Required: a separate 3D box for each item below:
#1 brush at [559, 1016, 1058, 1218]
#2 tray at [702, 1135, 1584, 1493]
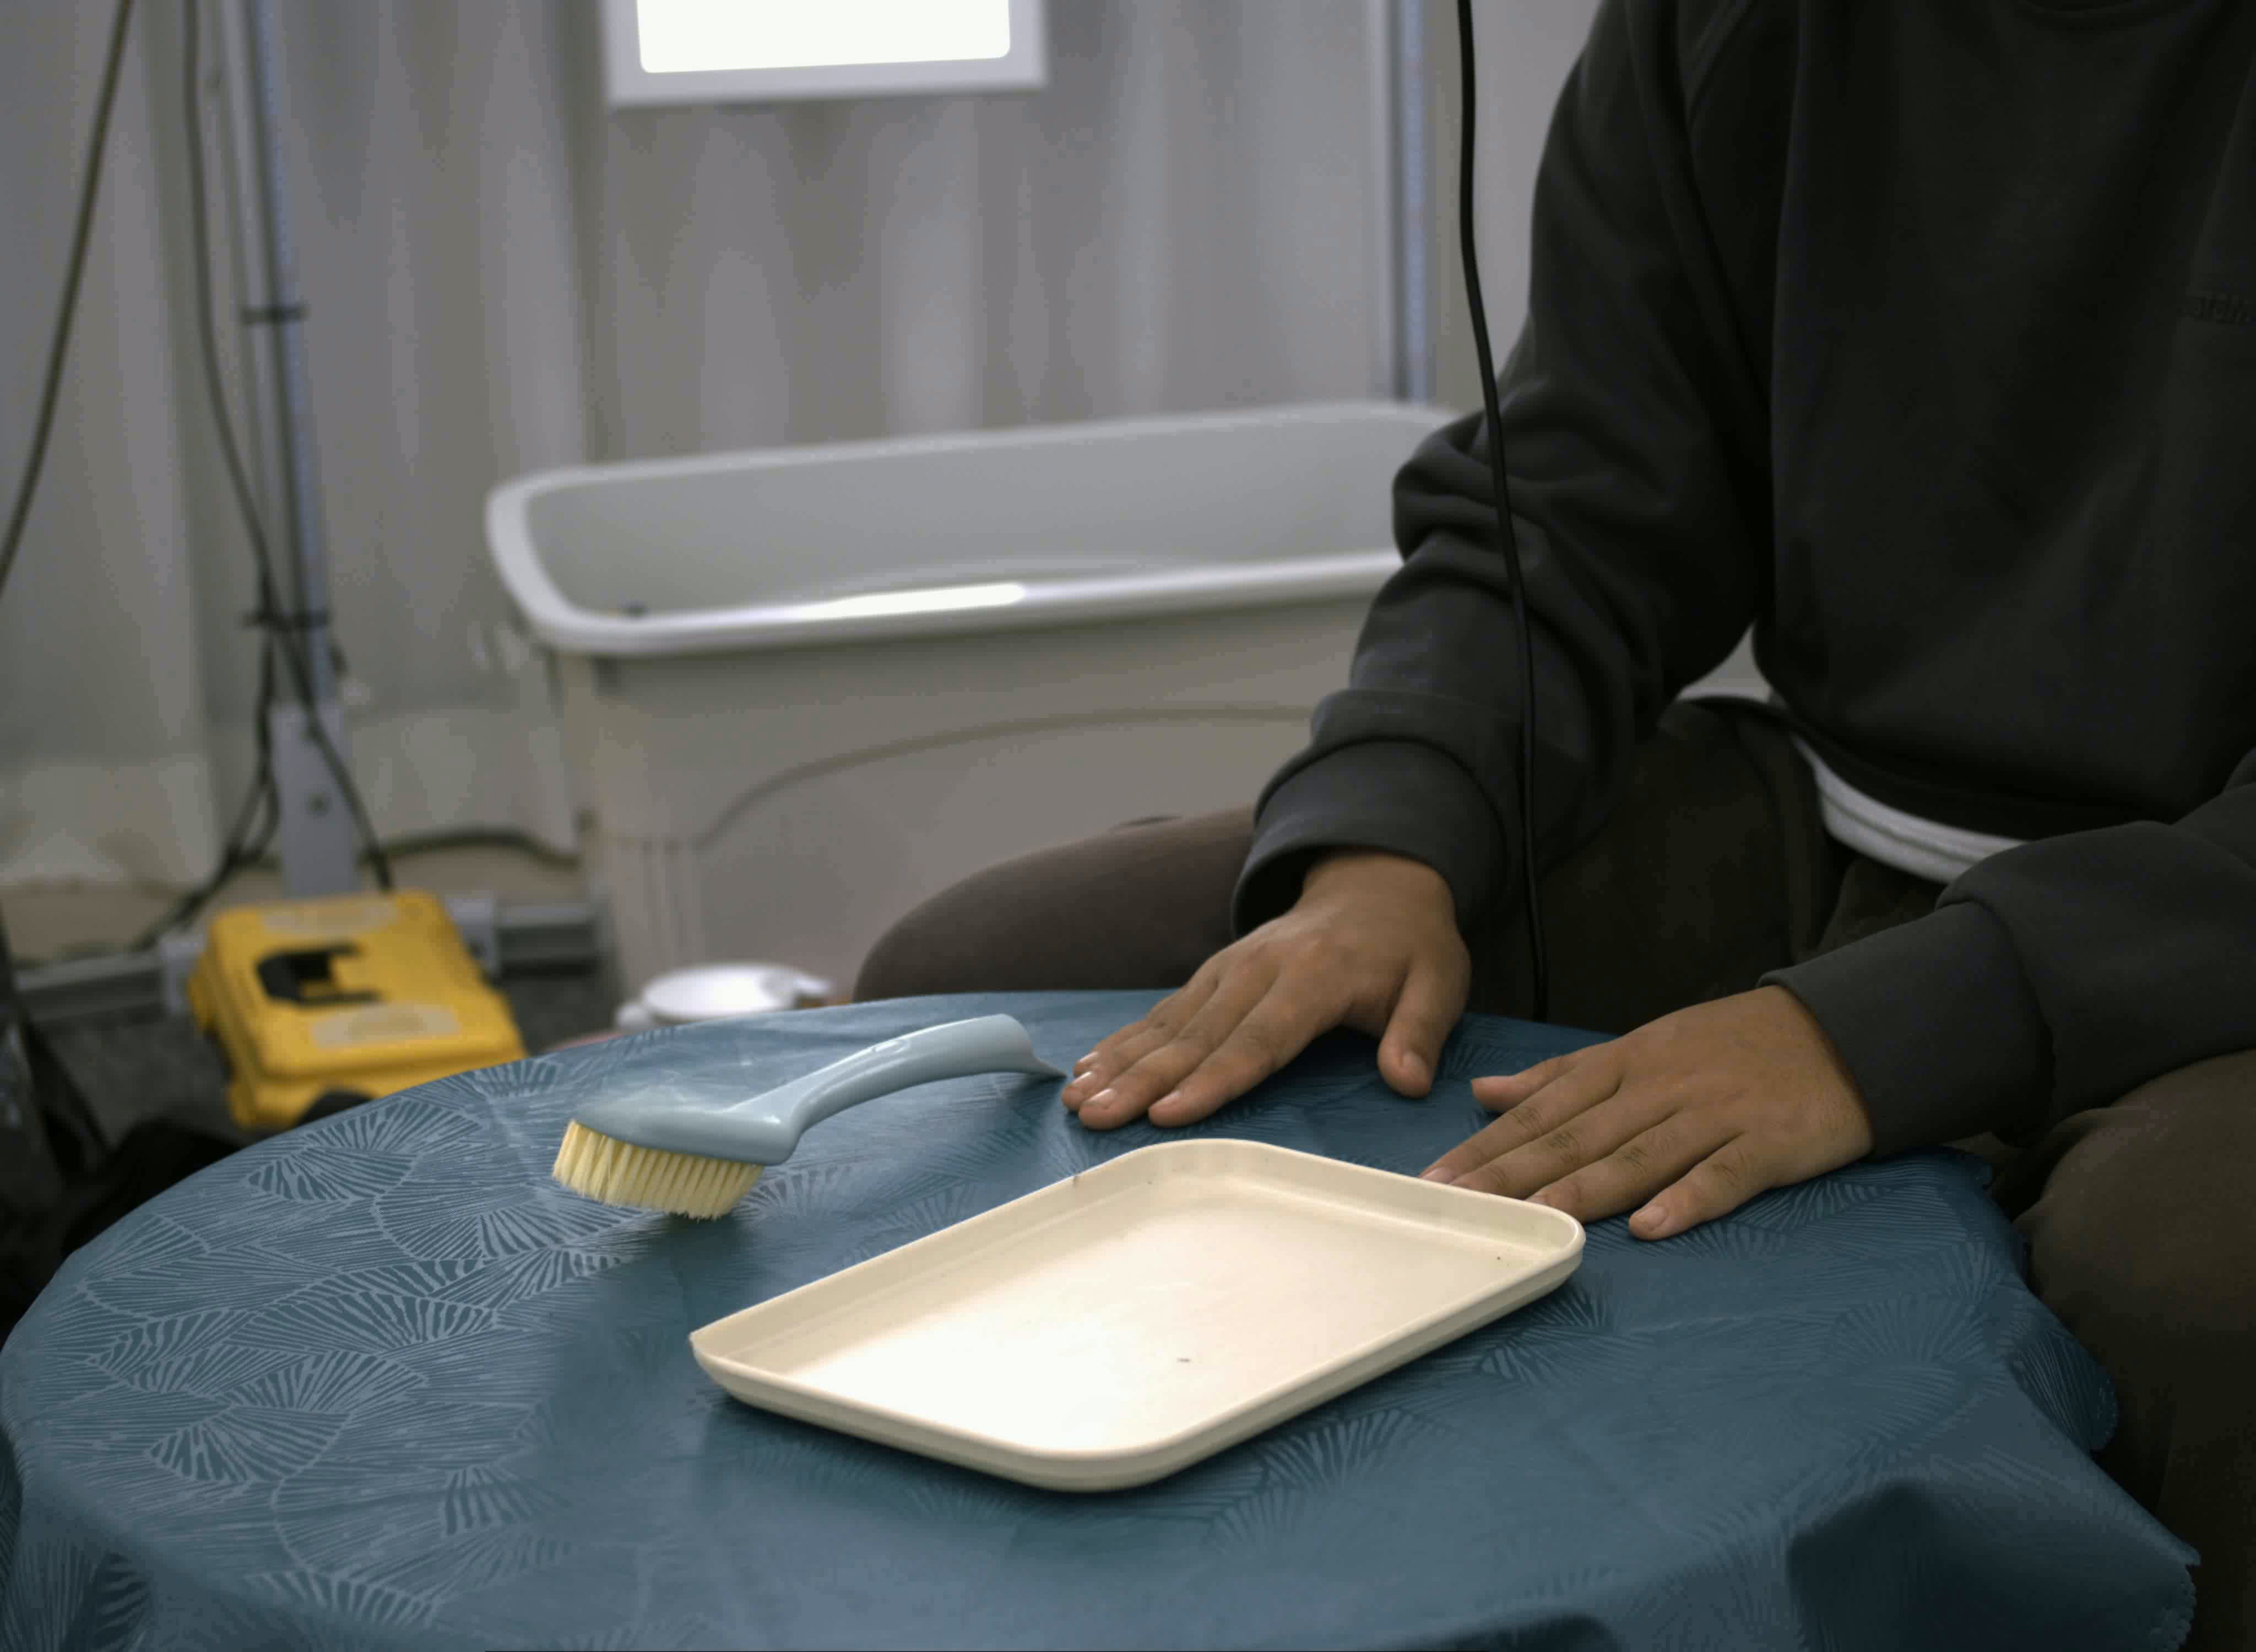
[{"bbox_3d":[-0.100,0.093,1.754,0.038,0.049,0.228,23,19,33],"label":"brush"},{"bbox_3d":[0.007,0.140,1.586,0.172,0.017,0.239,11,20,40],"label":"tray"}]
